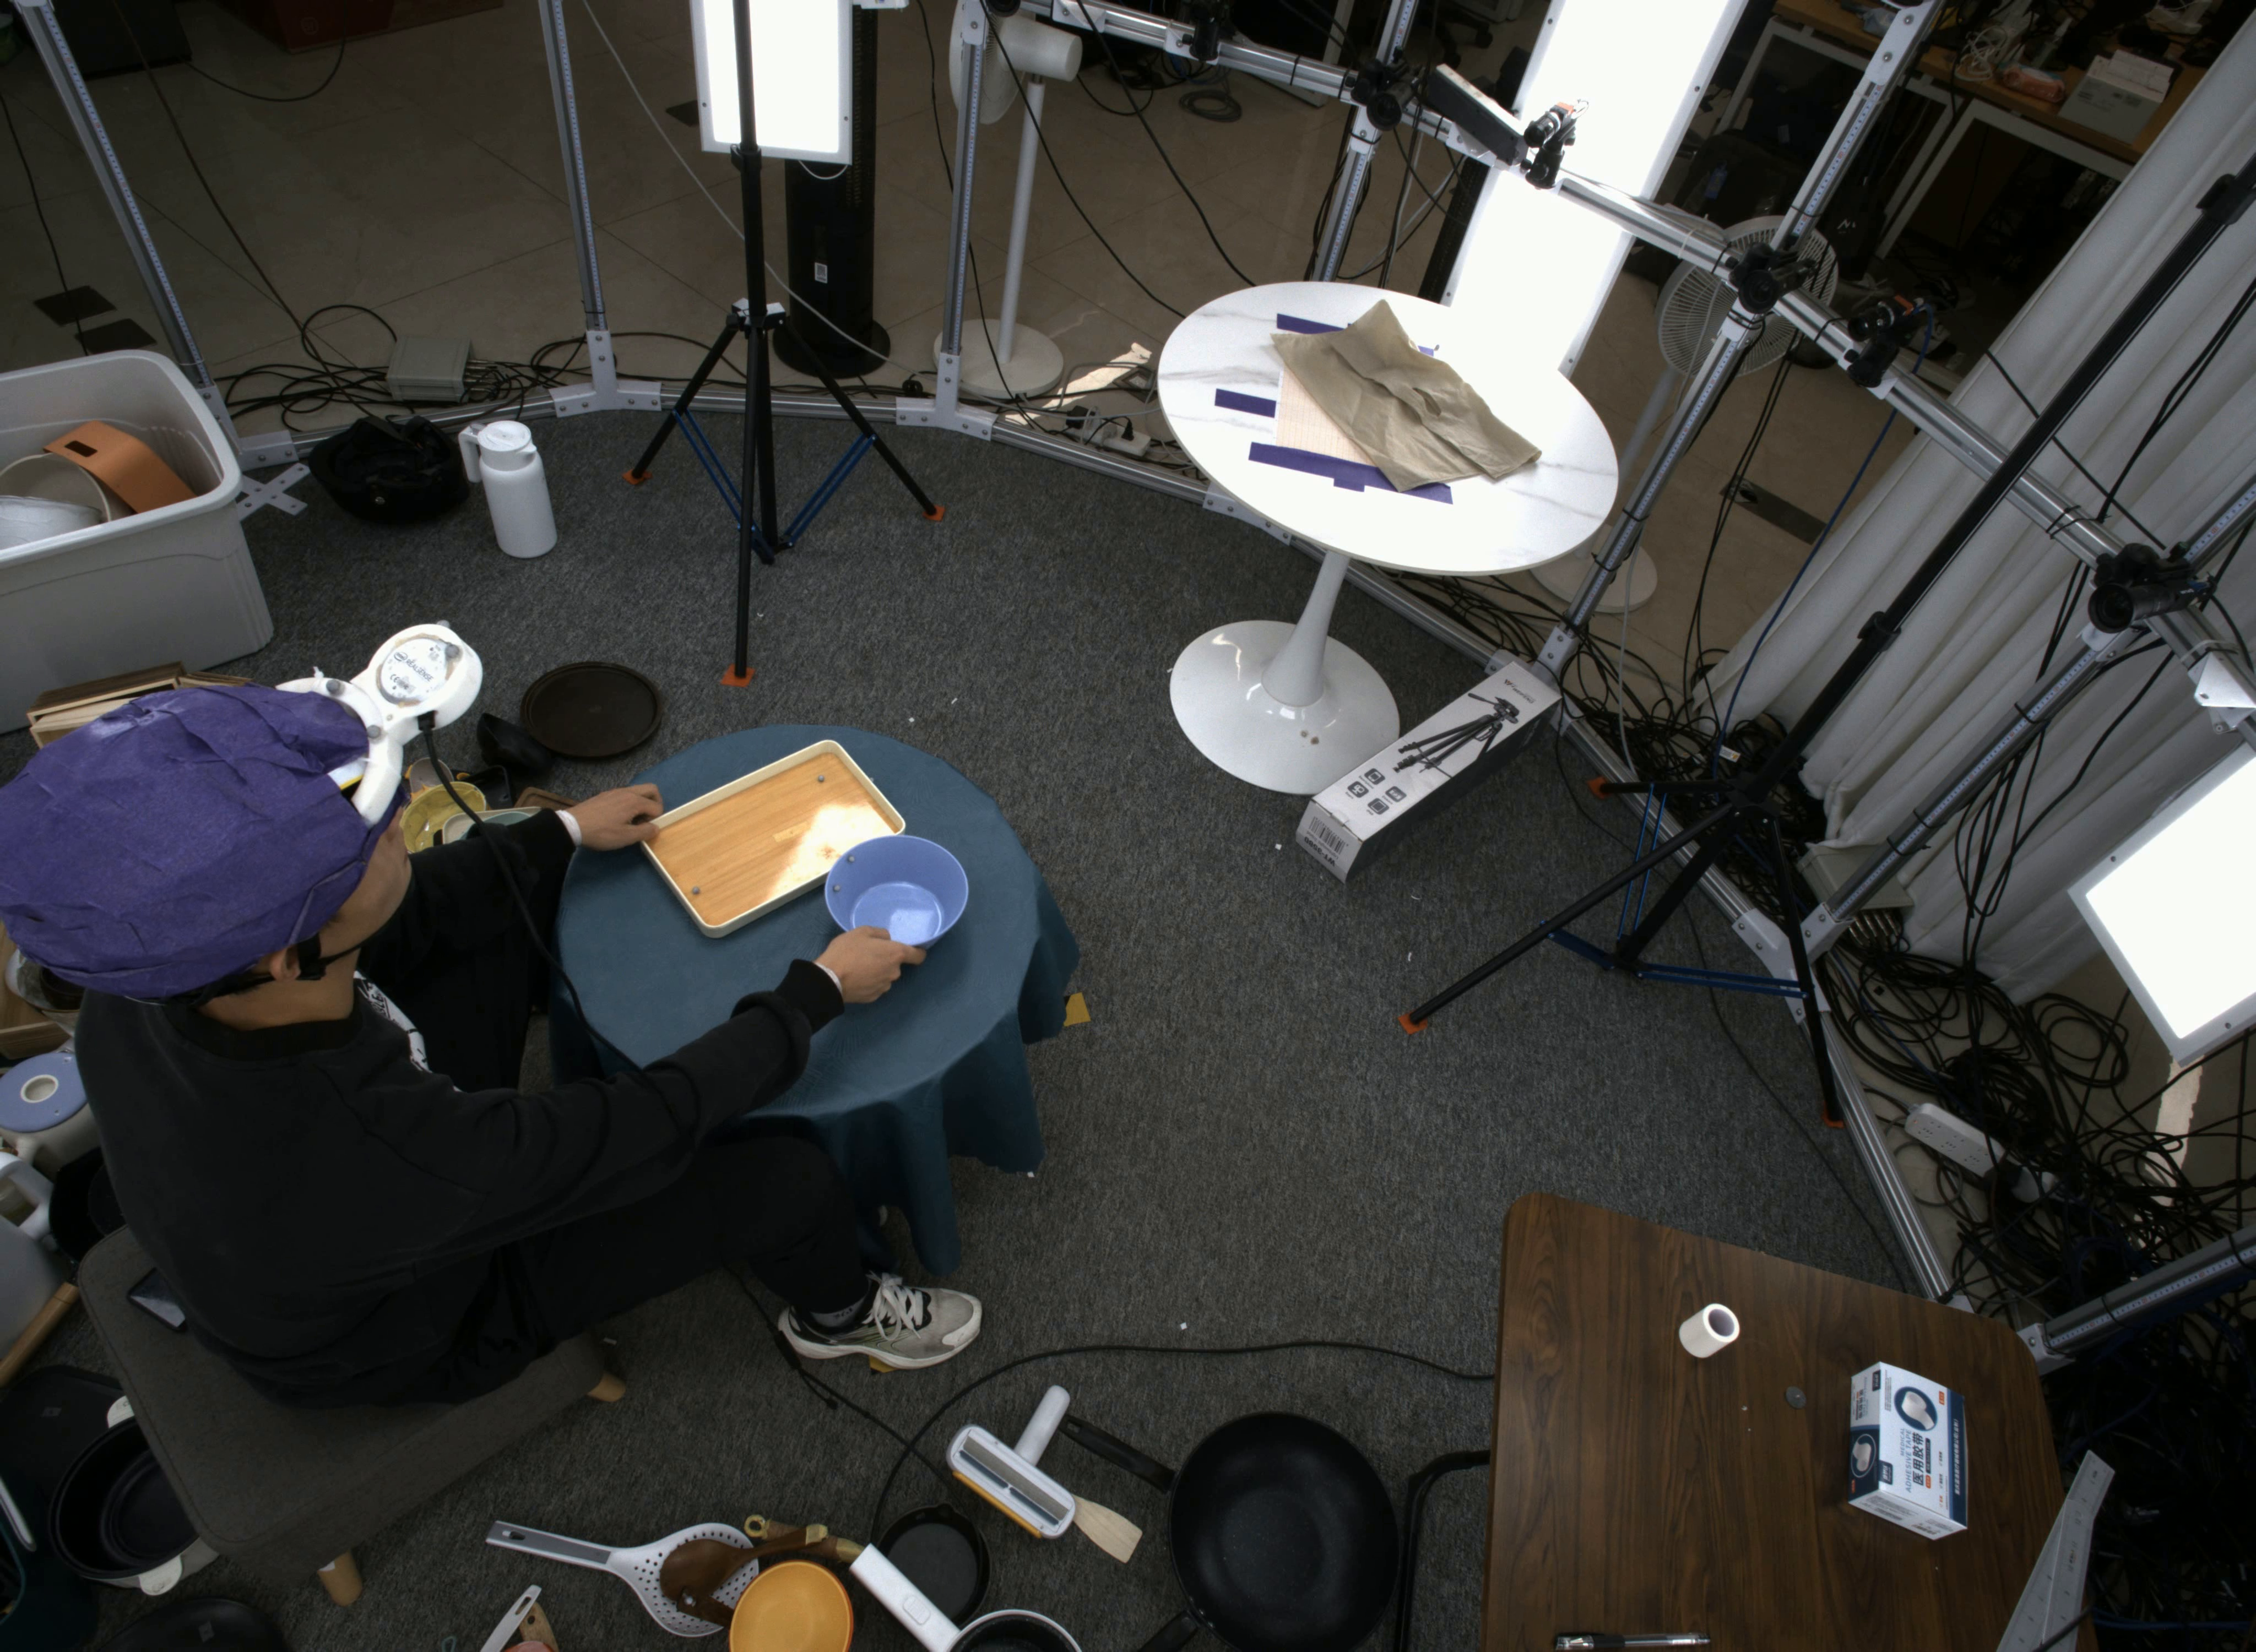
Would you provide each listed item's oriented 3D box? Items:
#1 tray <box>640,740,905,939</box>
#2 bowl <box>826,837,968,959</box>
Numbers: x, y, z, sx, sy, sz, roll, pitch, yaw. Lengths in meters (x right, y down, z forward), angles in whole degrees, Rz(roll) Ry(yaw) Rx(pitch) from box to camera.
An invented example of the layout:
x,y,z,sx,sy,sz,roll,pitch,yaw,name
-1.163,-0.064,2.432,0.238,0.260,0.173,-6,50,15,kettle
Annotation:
x,y,z,sx,sy,sz,roll,pitch,yaw,name
-0.462,0.010,1.694,0.301,0.028,0.187,-30,67,-31,tray
-0.289,0.099,1.638,0.175,0.072,0.172,6,48,-5,bowl
